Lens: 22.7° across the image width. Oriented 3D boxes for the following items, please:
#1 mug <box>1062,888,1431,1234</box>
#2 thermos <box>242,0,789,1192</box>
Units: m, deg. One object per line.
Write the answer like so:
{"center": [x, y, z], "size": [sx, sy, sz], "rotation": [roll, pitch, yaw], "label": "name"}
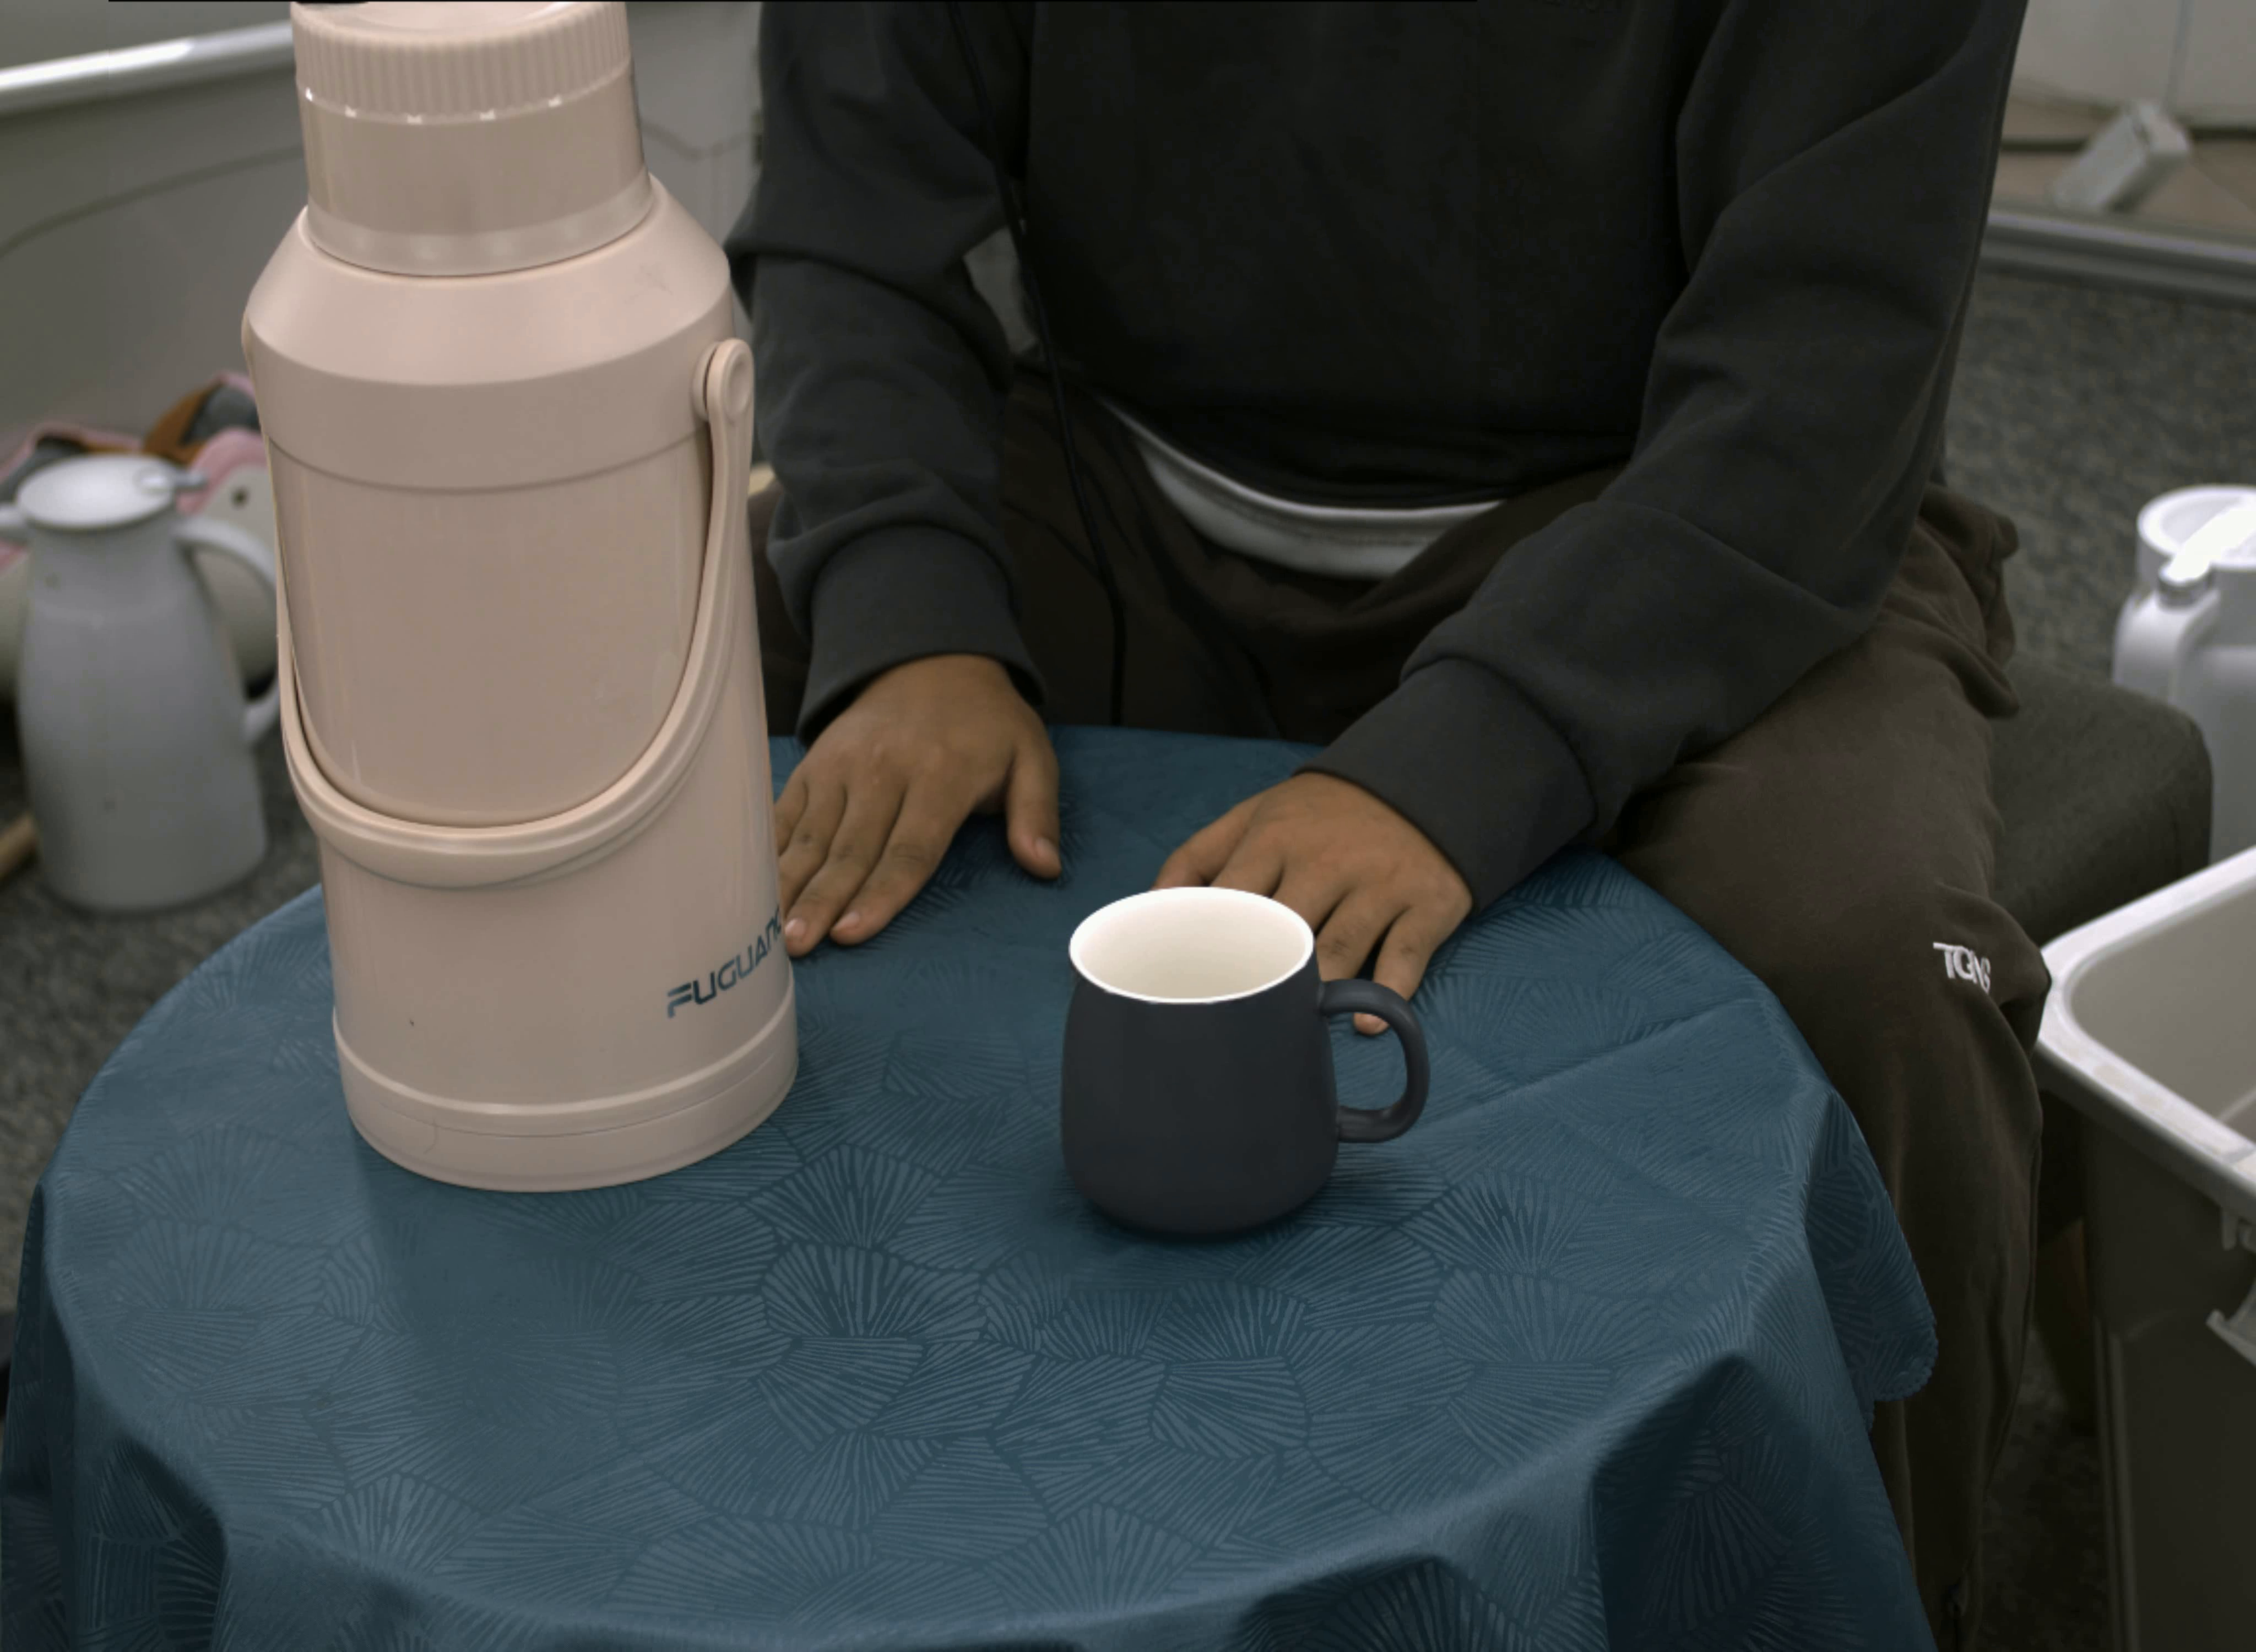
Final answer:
{"center": [0.038, 0.078, 1.848], "size": [0.122, 0.089, 0.095], "rotation": [1, 27, 8], "label": "mug"}
{"center": [-0.196, -0.094, 1.874], "size": [0.174, 0.402, 0.210], "rotation": [7, 28, 20], "label": "thermos"}
